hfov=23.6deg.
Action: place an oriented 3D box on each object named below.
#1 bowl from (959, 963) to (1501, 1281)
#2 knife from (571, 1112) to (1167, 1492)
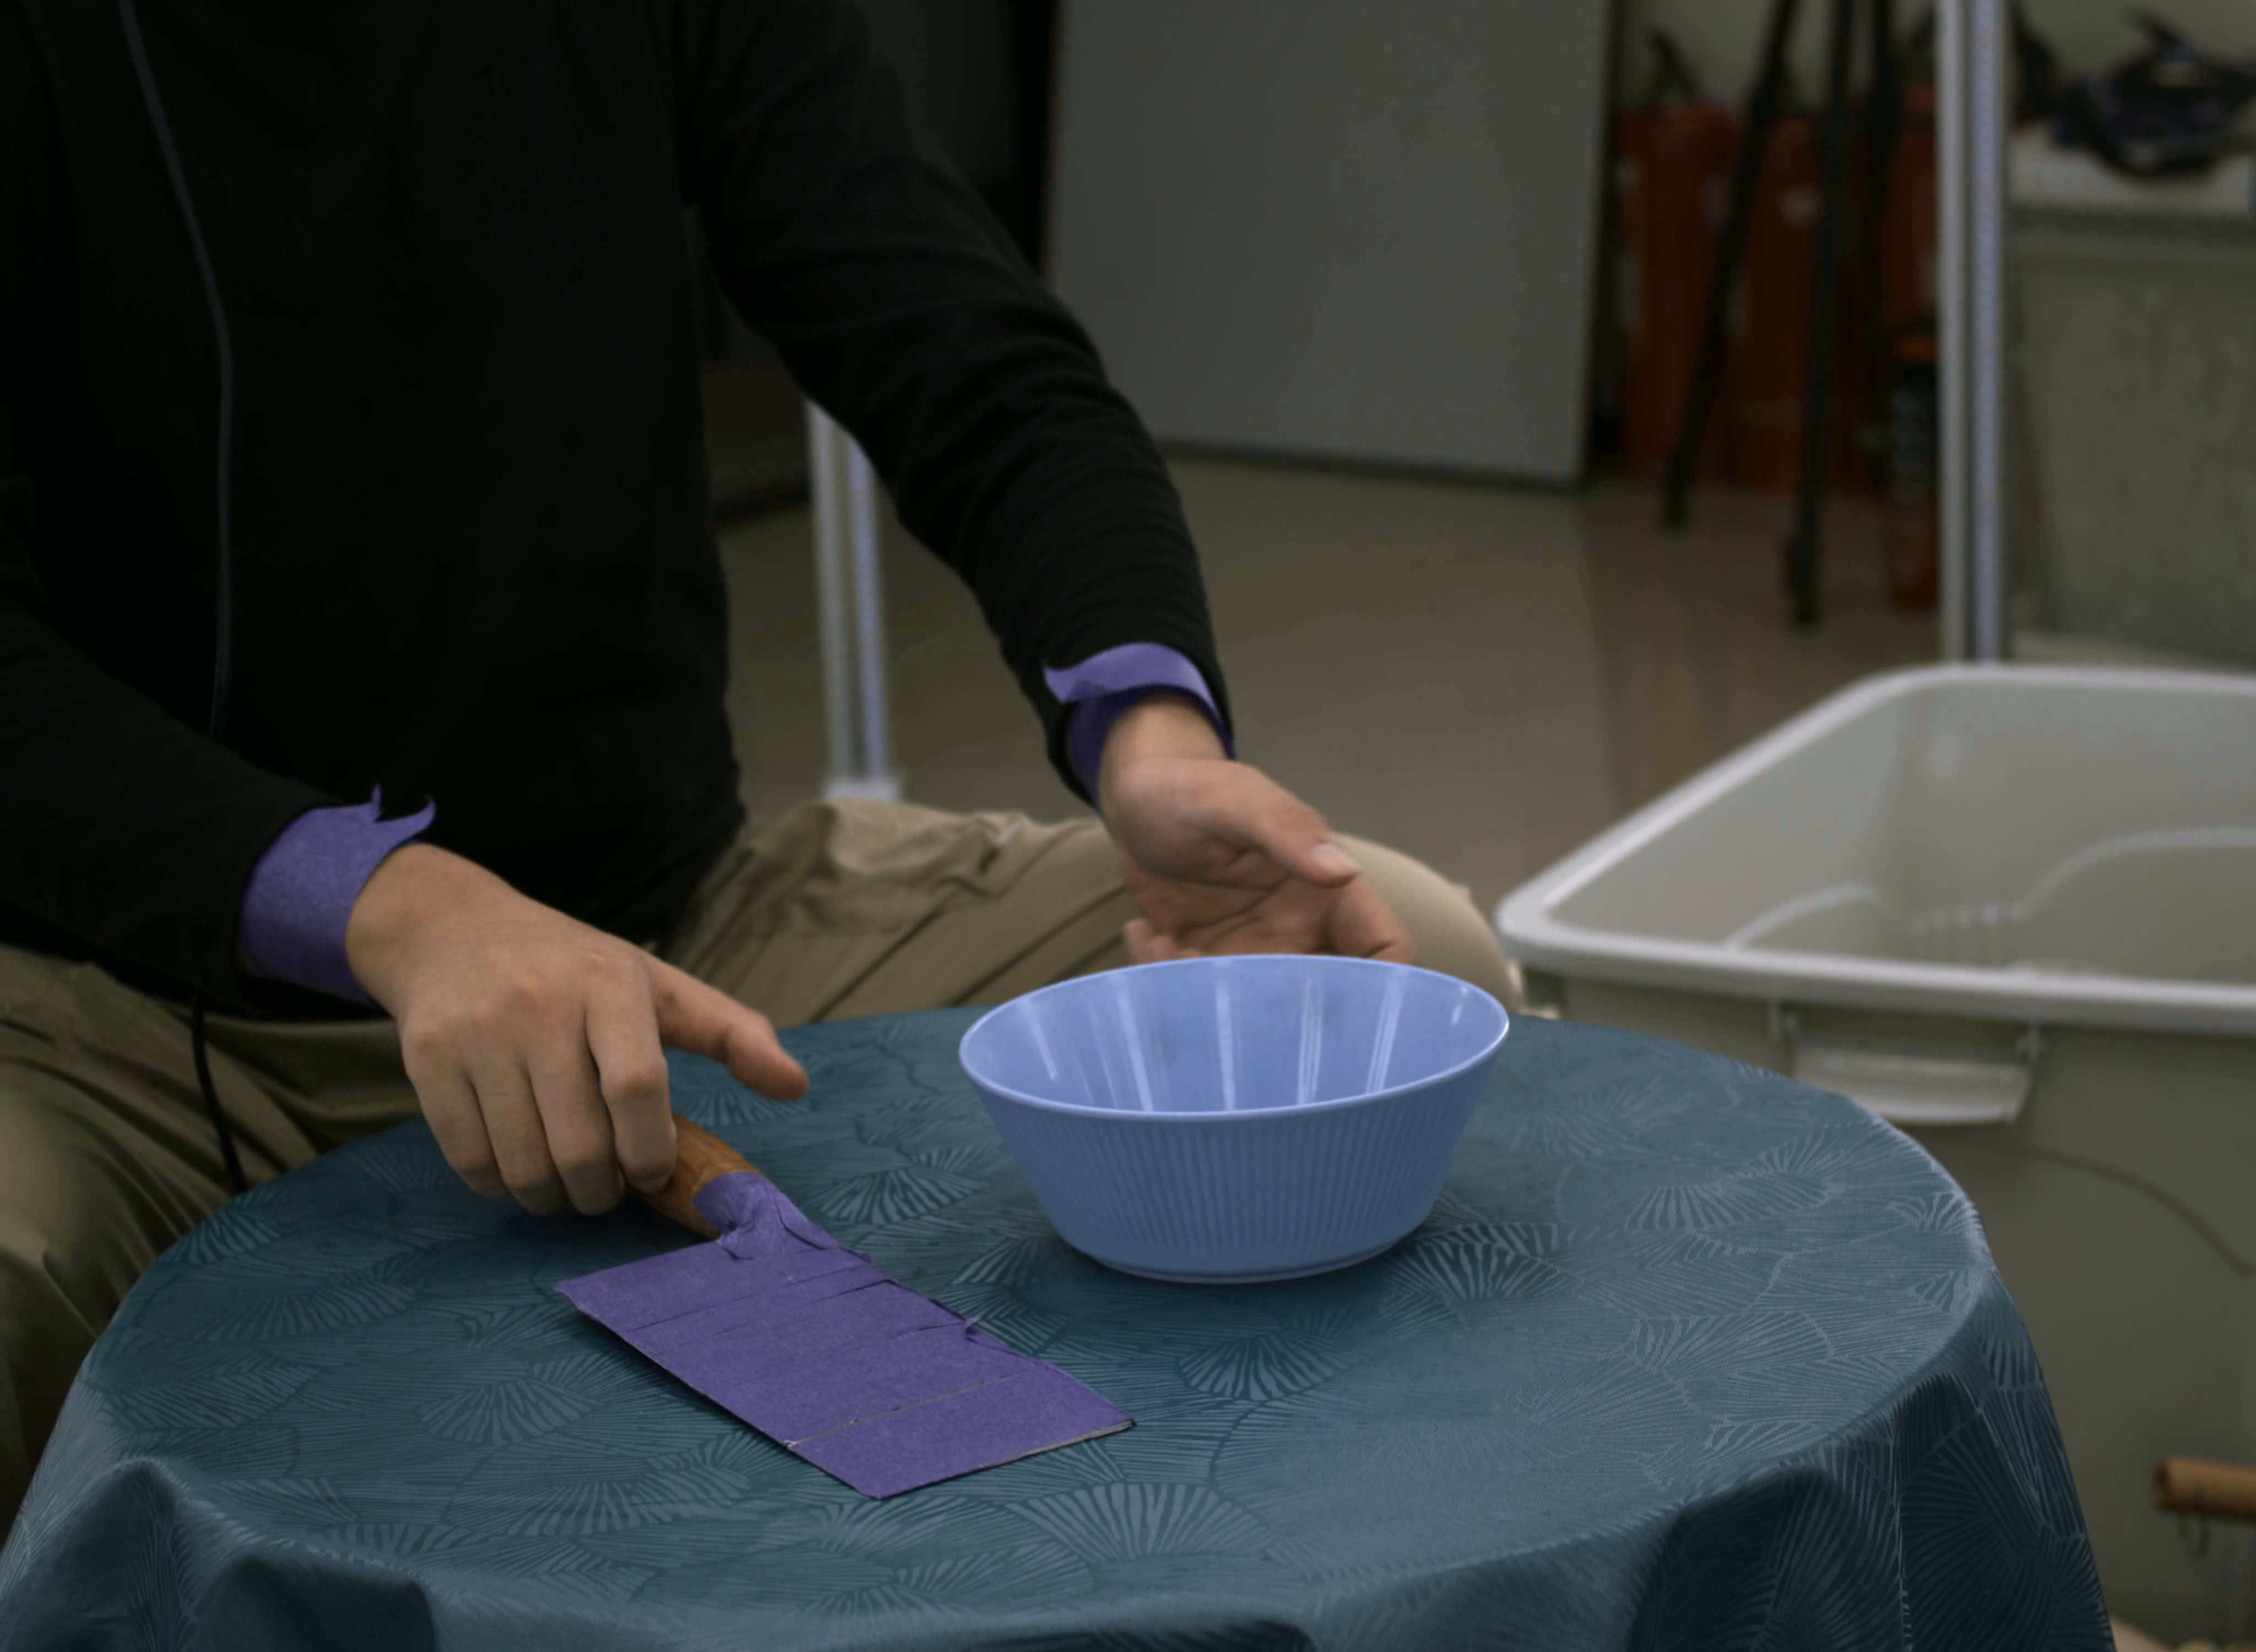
[{"bbox_3d":[0.034,0.096,1.716,0.174,0.071,0.176,-3,12,0],"label":"bowl"},{"bbox_3d":[-0.112,0.143,1.665,0.101,0.032,0.318,-12,16,-30],"label":"knife"}]
